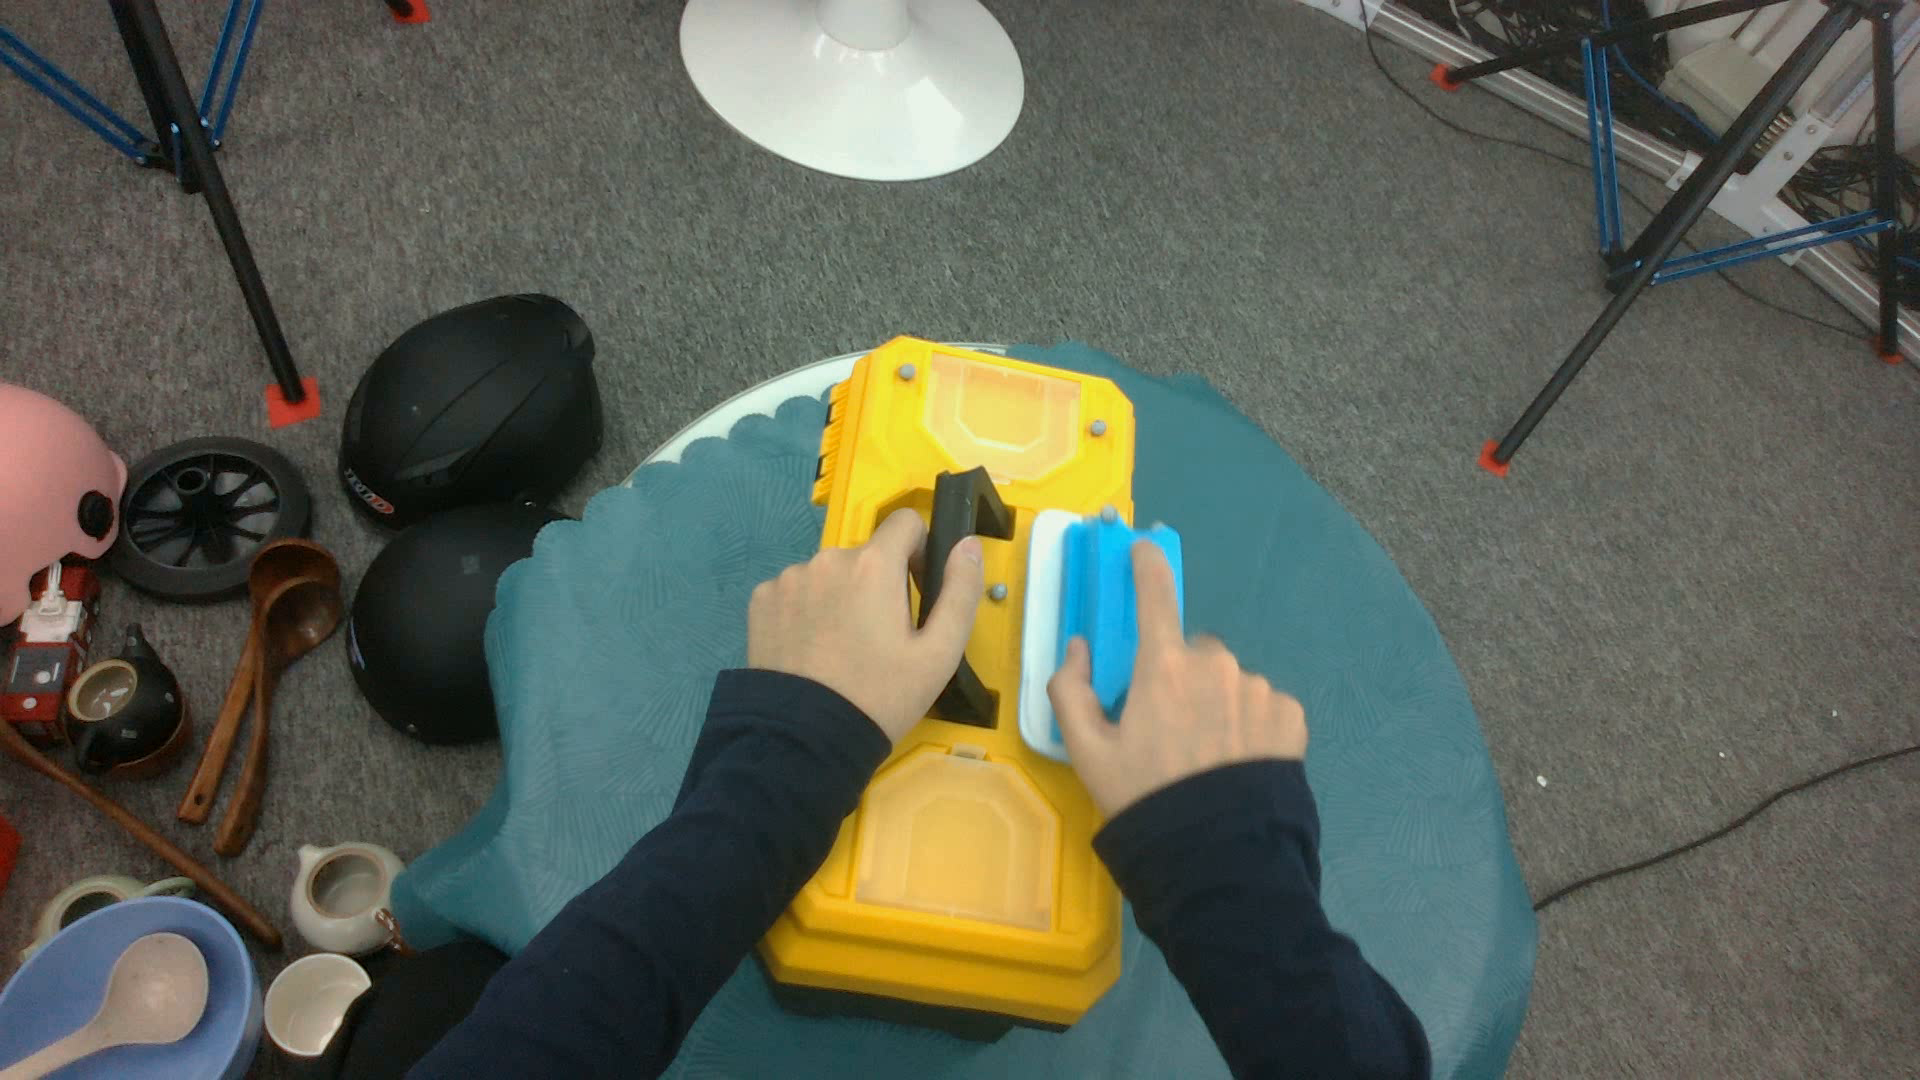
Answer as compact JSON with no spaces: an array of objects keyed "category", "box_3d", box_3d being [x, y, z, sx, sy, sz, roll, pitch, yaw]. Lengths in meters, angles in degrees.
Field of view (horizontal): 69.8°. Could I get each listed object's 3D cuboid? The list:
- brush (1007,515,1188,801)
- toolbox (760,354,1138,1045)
[{"category":"brush","box_3d":[0.073,0.048,0.653,0.084,0.055,0.144,17,54,-10]},{"category":"toolbox","box_3d":[-0.002,0.084,0.744,0.181,0.172,0.353,10,55,-7]}]
